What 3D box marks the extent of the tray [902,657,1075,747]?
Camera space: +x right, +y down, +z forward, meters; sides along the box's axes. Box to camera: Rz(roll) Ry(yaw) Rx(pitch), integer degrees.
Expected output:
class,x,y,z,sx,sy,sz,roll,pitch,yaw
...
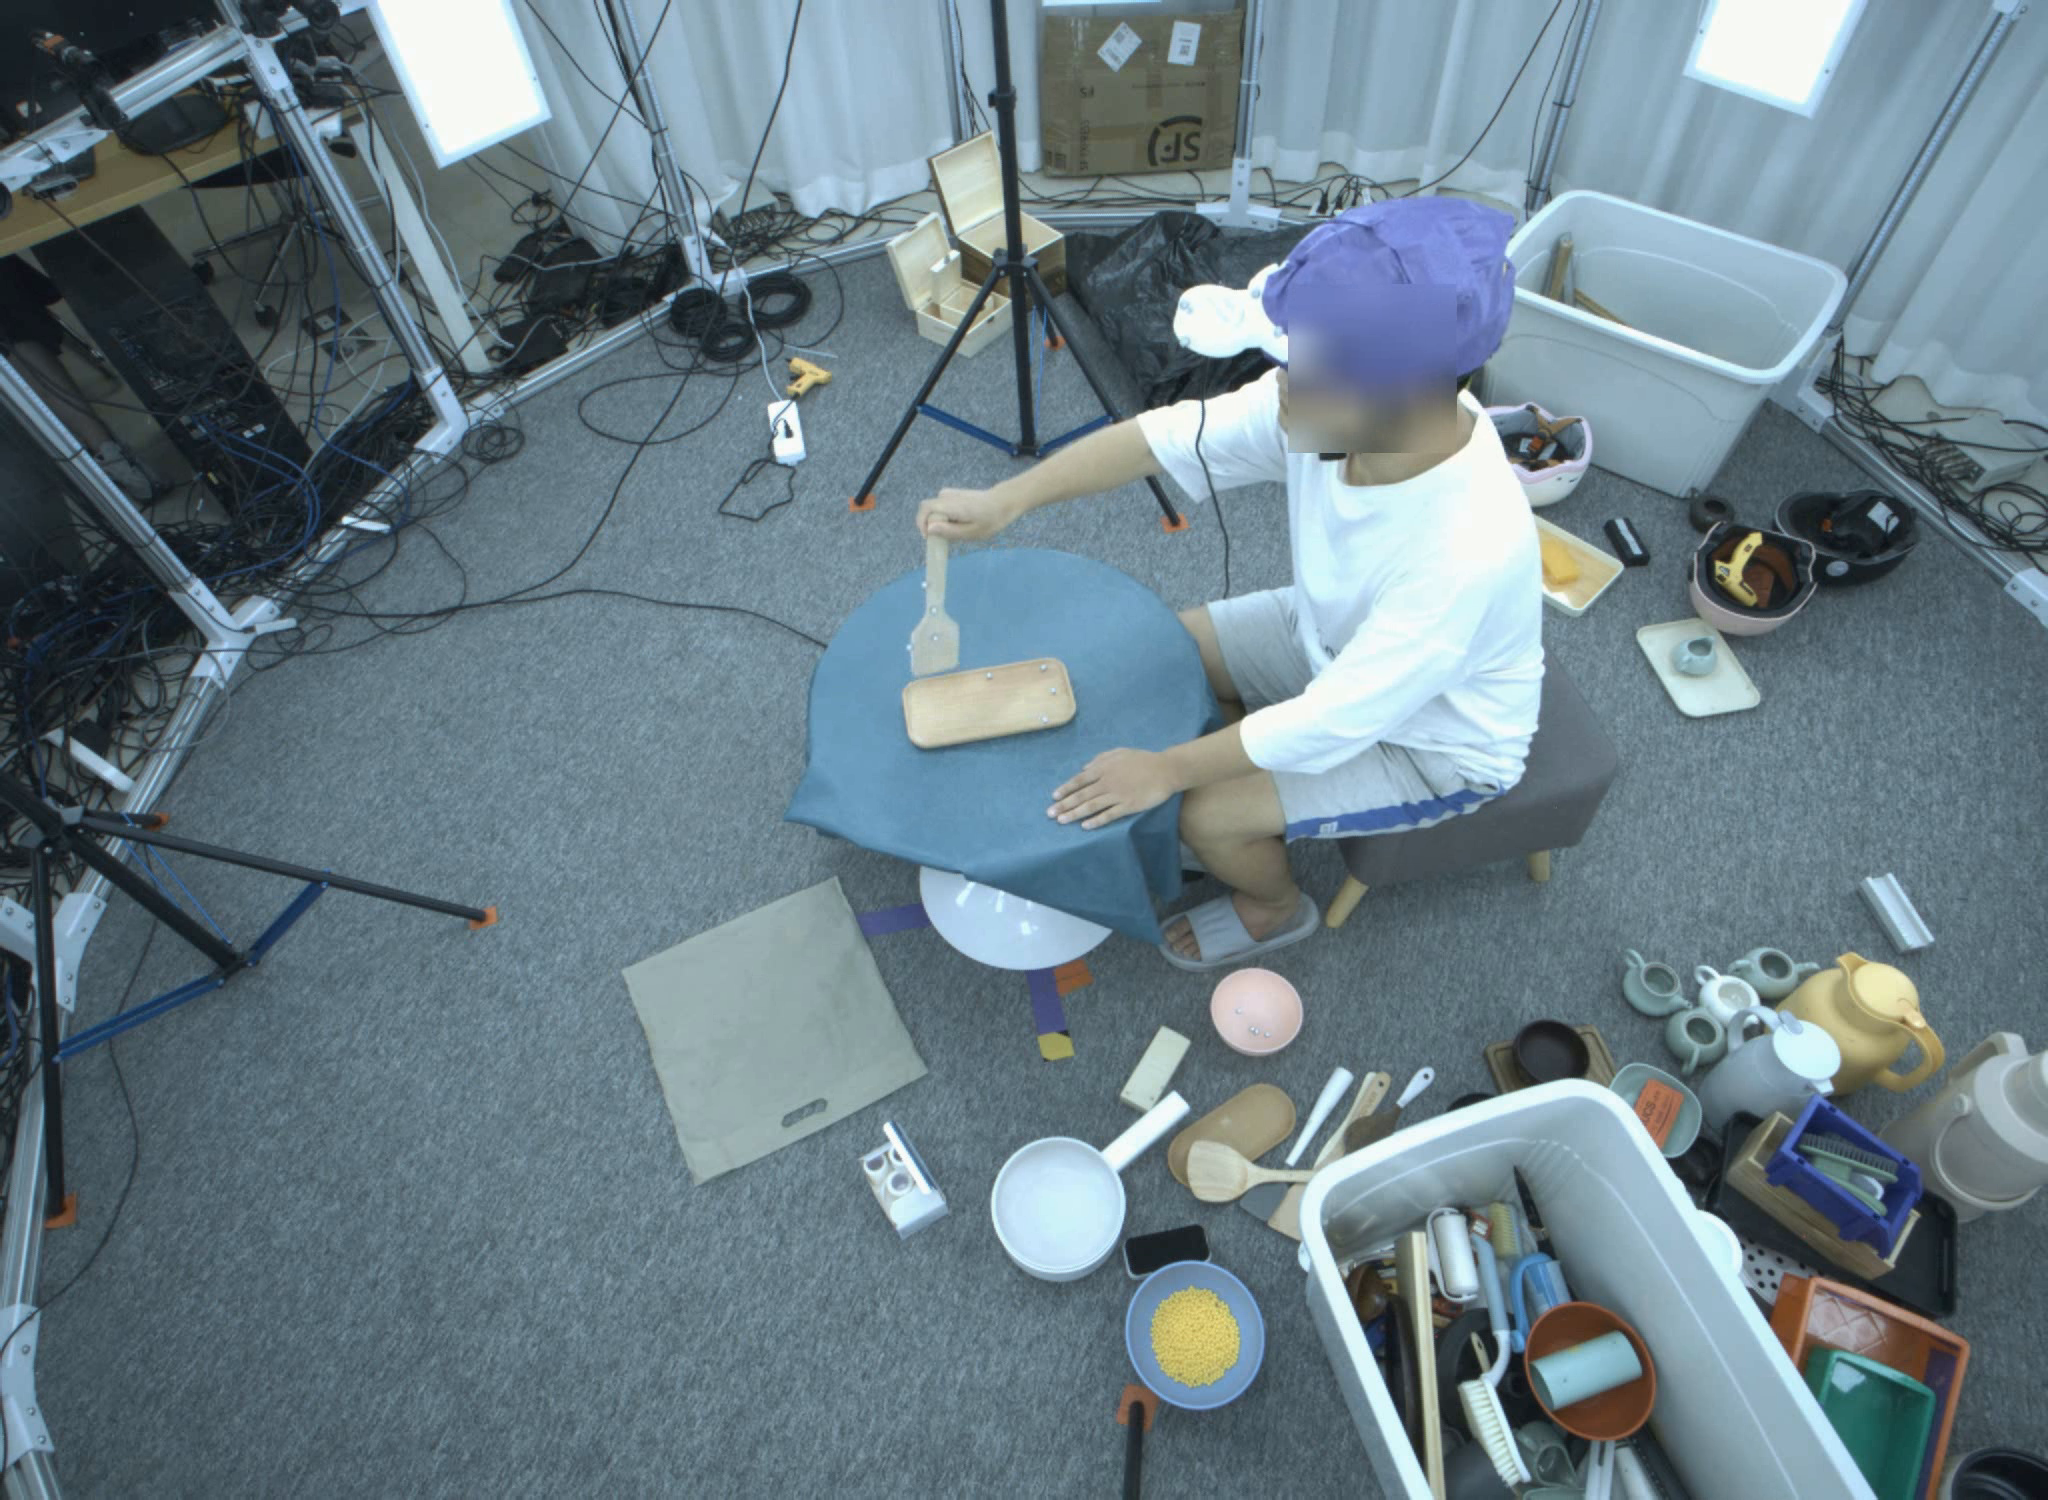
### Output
class,x,y,z,sx,sy,sz,roll,pitch,yaw
tray,-0.054,-0.071,1.827,0.251,0.023,0.128,-9,52,-4

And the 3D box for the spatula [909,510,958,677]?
class,x,y,z,sx,sy,sz,roll,pitch,yaw
spatula,-0.120,-0.206,1.645,0.073,0.295,0.010,-16,53,-18
